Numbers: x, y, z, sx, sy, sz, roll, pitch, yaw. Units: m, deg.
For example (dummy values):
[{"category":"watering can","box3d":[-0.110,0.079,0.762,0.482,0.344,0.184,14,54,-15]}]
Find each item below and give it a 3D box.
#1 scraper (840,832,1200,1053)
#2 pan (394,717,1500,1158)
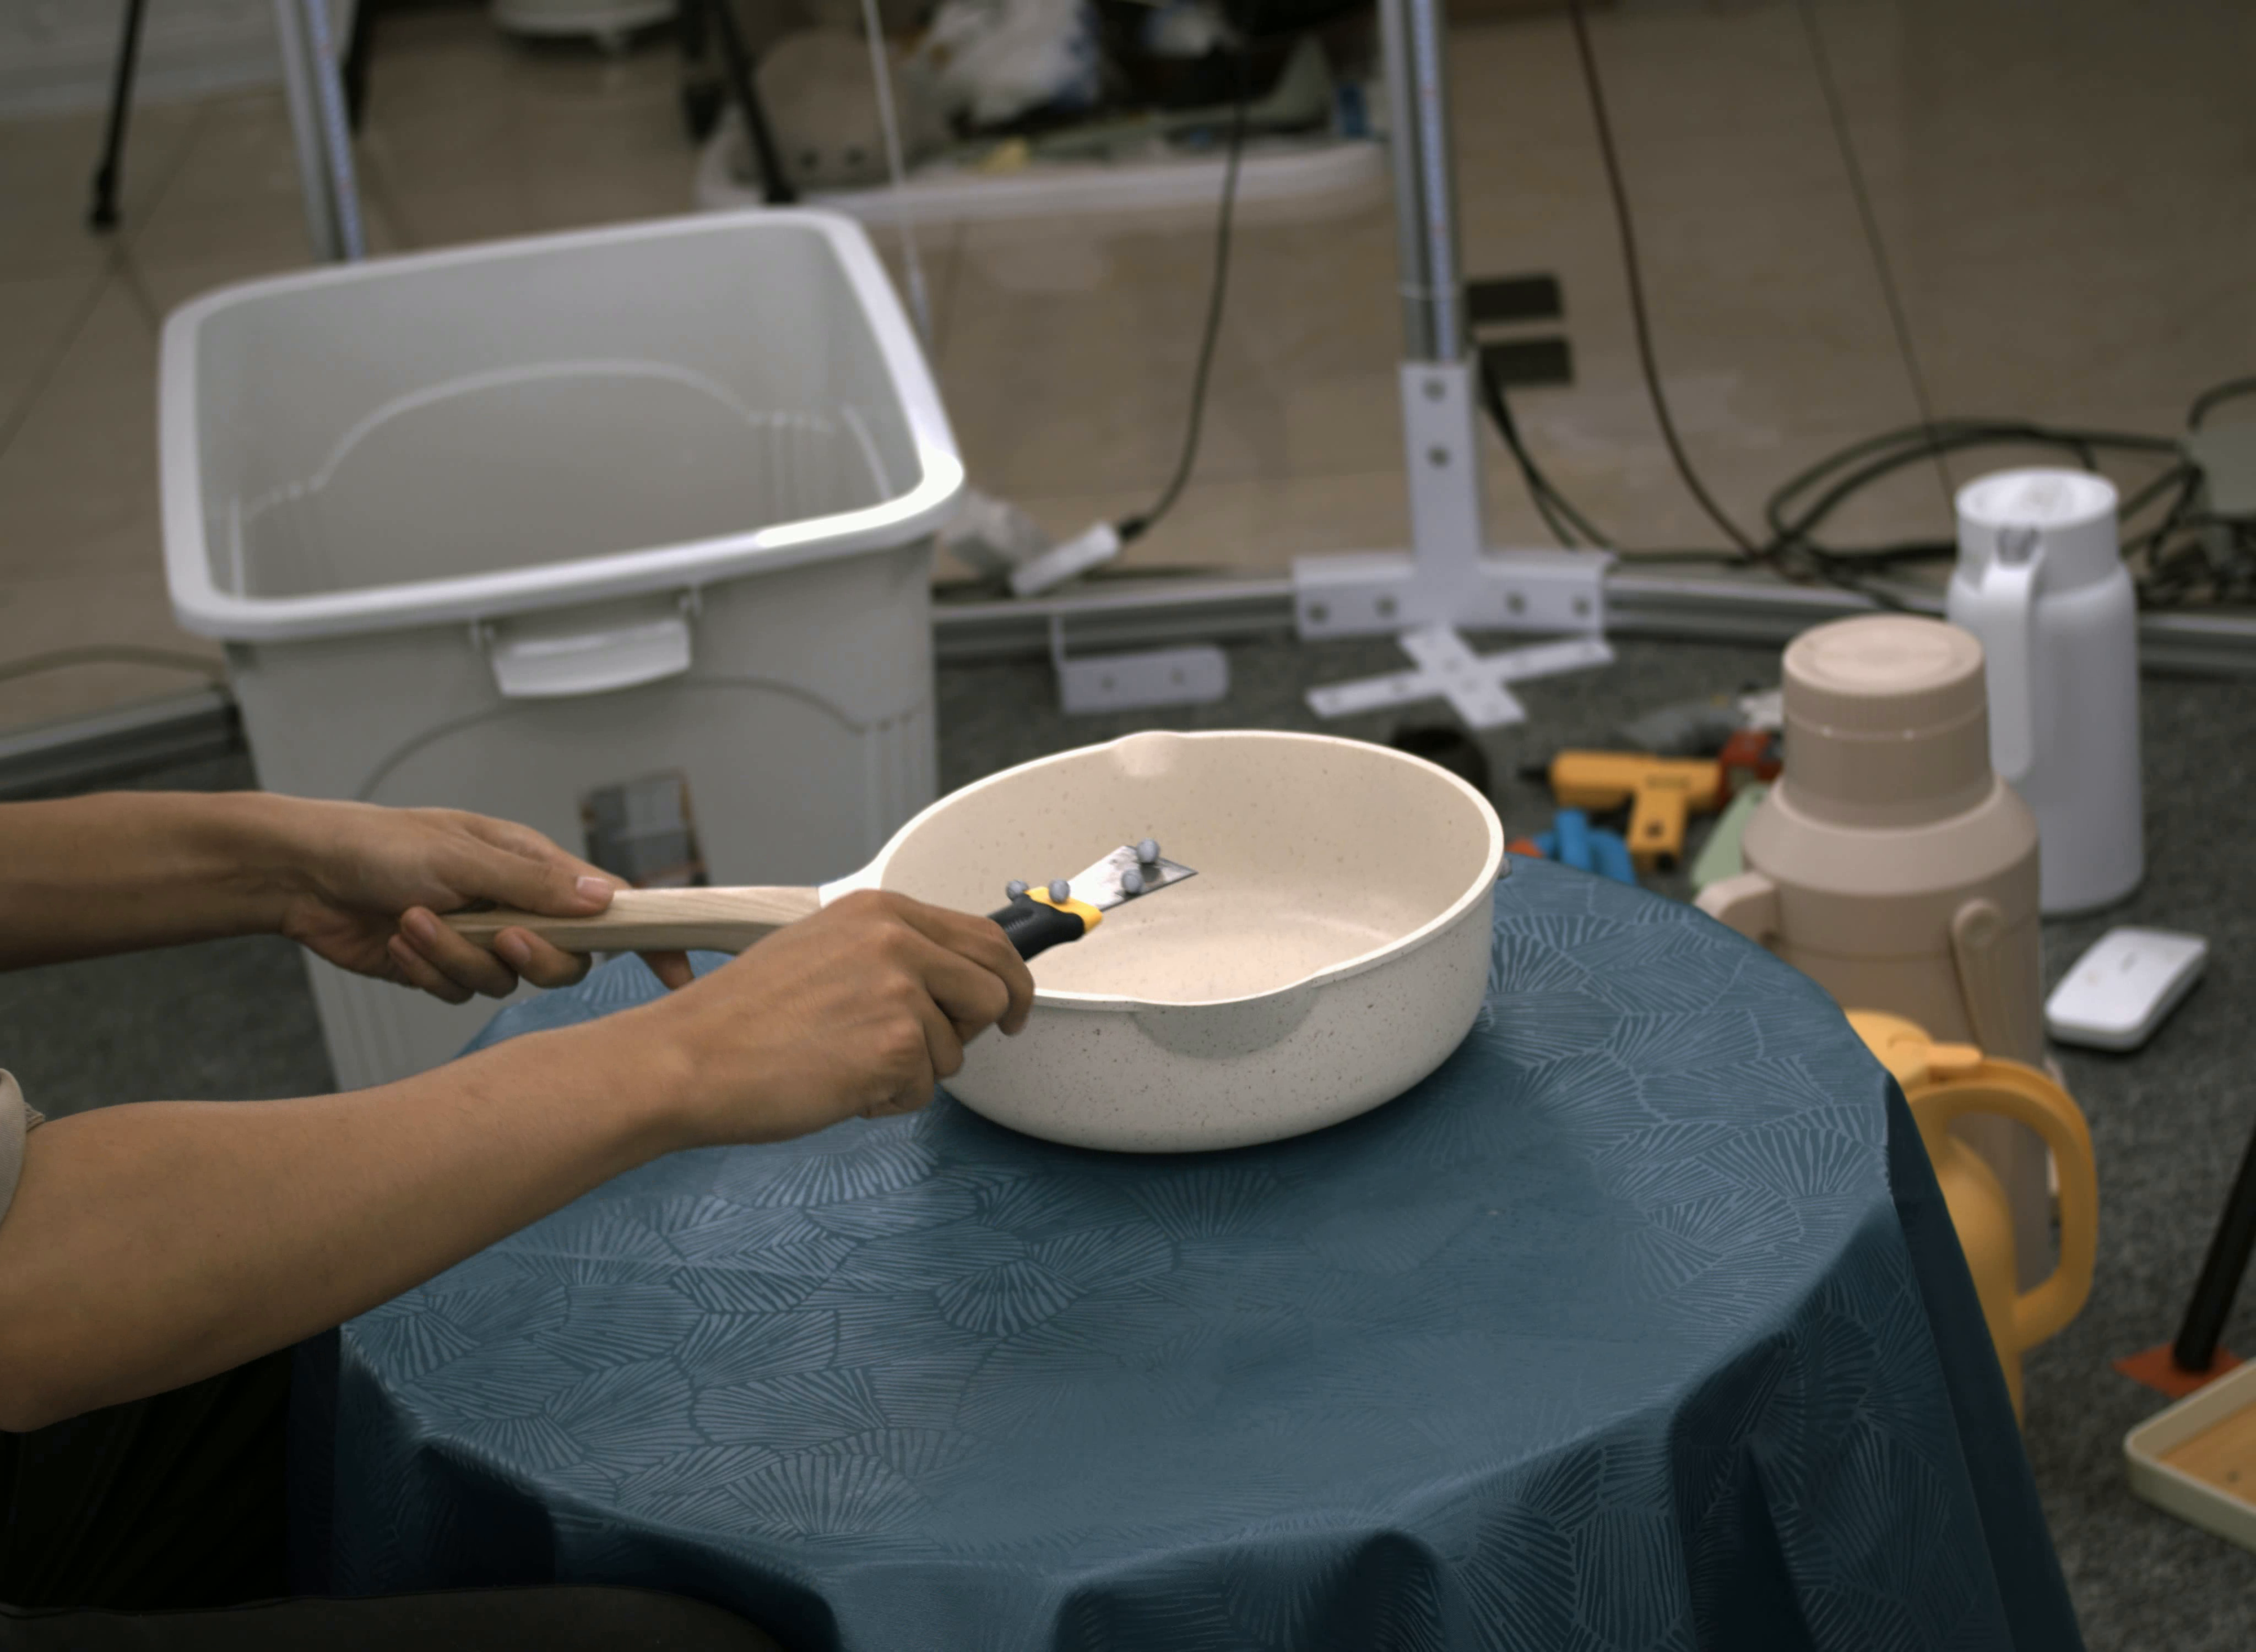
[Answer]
[{"category":"scraper","box3d":[-0.039,0.041,1.993,0.038,0.015,0.169,27,37,31]},{"category":"pan","box3d":[-0.067,0.054,2.238,0.434,0.104,0.259,-8,27,-4]}]
